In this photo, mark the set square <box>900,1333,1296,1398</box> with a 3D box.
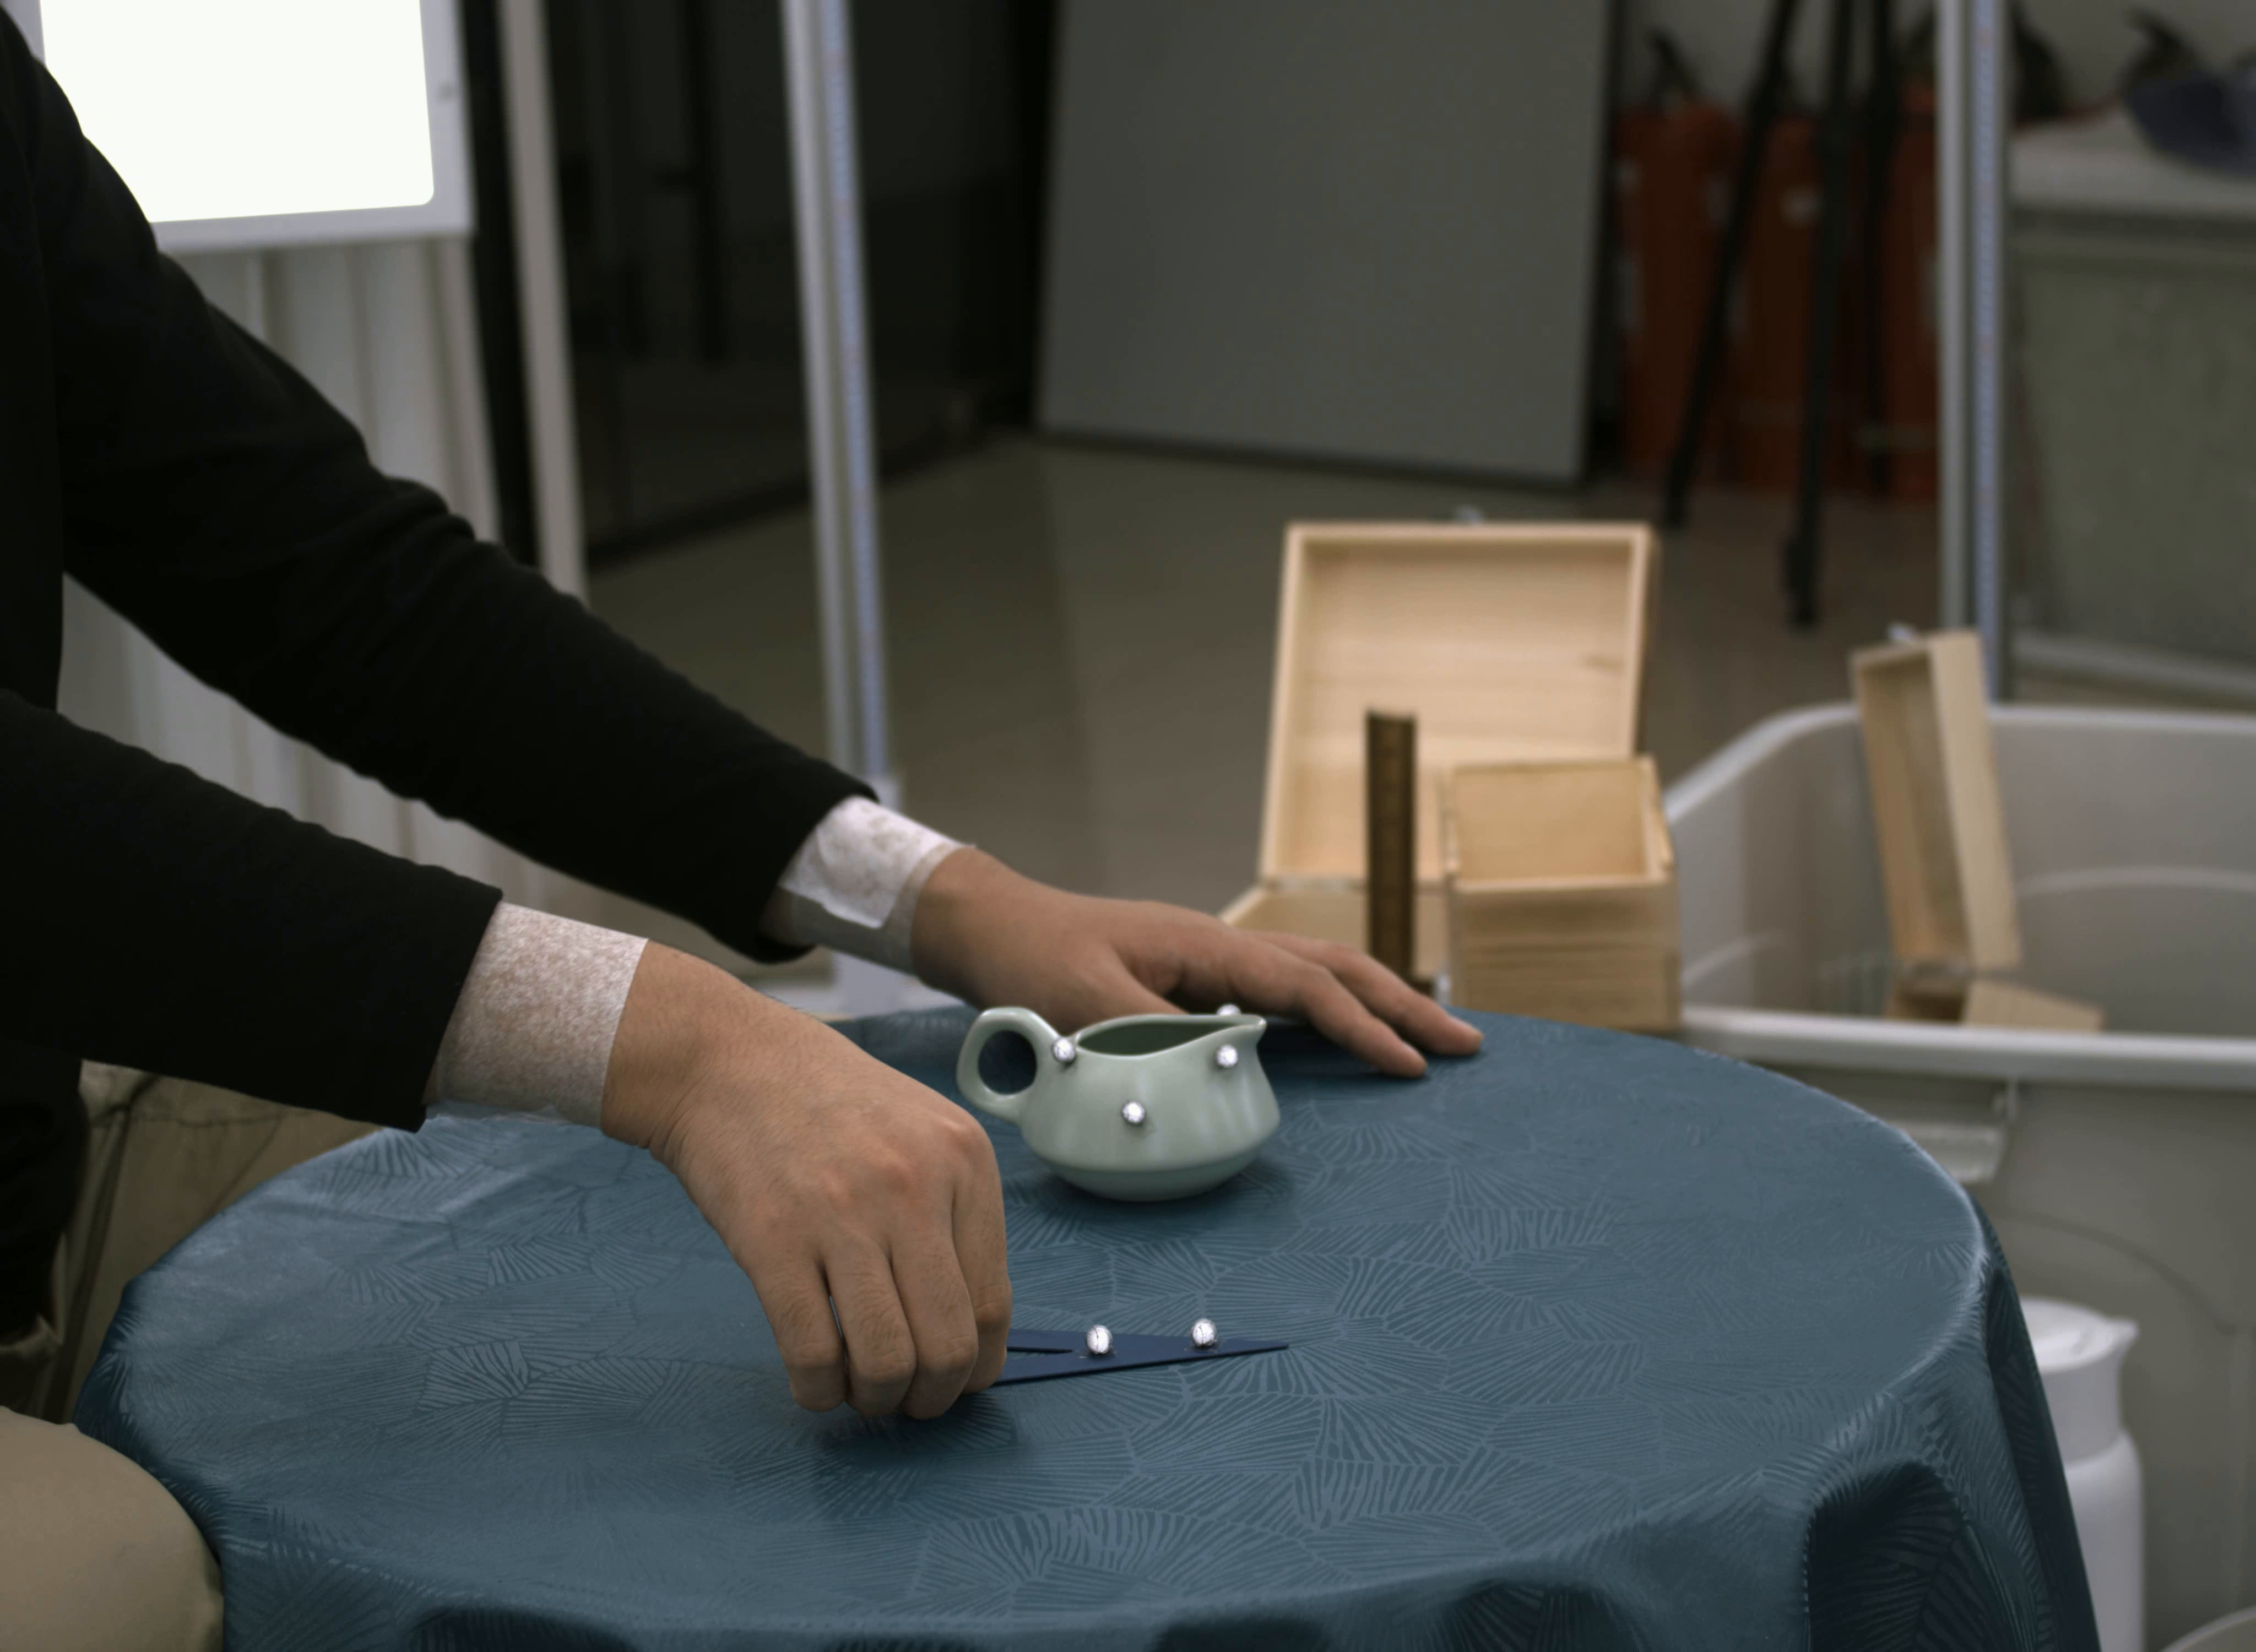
[{"bbox_3d":[-0.018,0.162,1.600,0.132,0.006,0.060,2,12,22],"label":"set square"}]

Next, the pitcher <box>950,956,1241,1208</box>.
[{"bbox_3d":[-0.013,0.084,1.780,0.108,0.061,0.085,22,33,23],"label":"pitcher"}]
